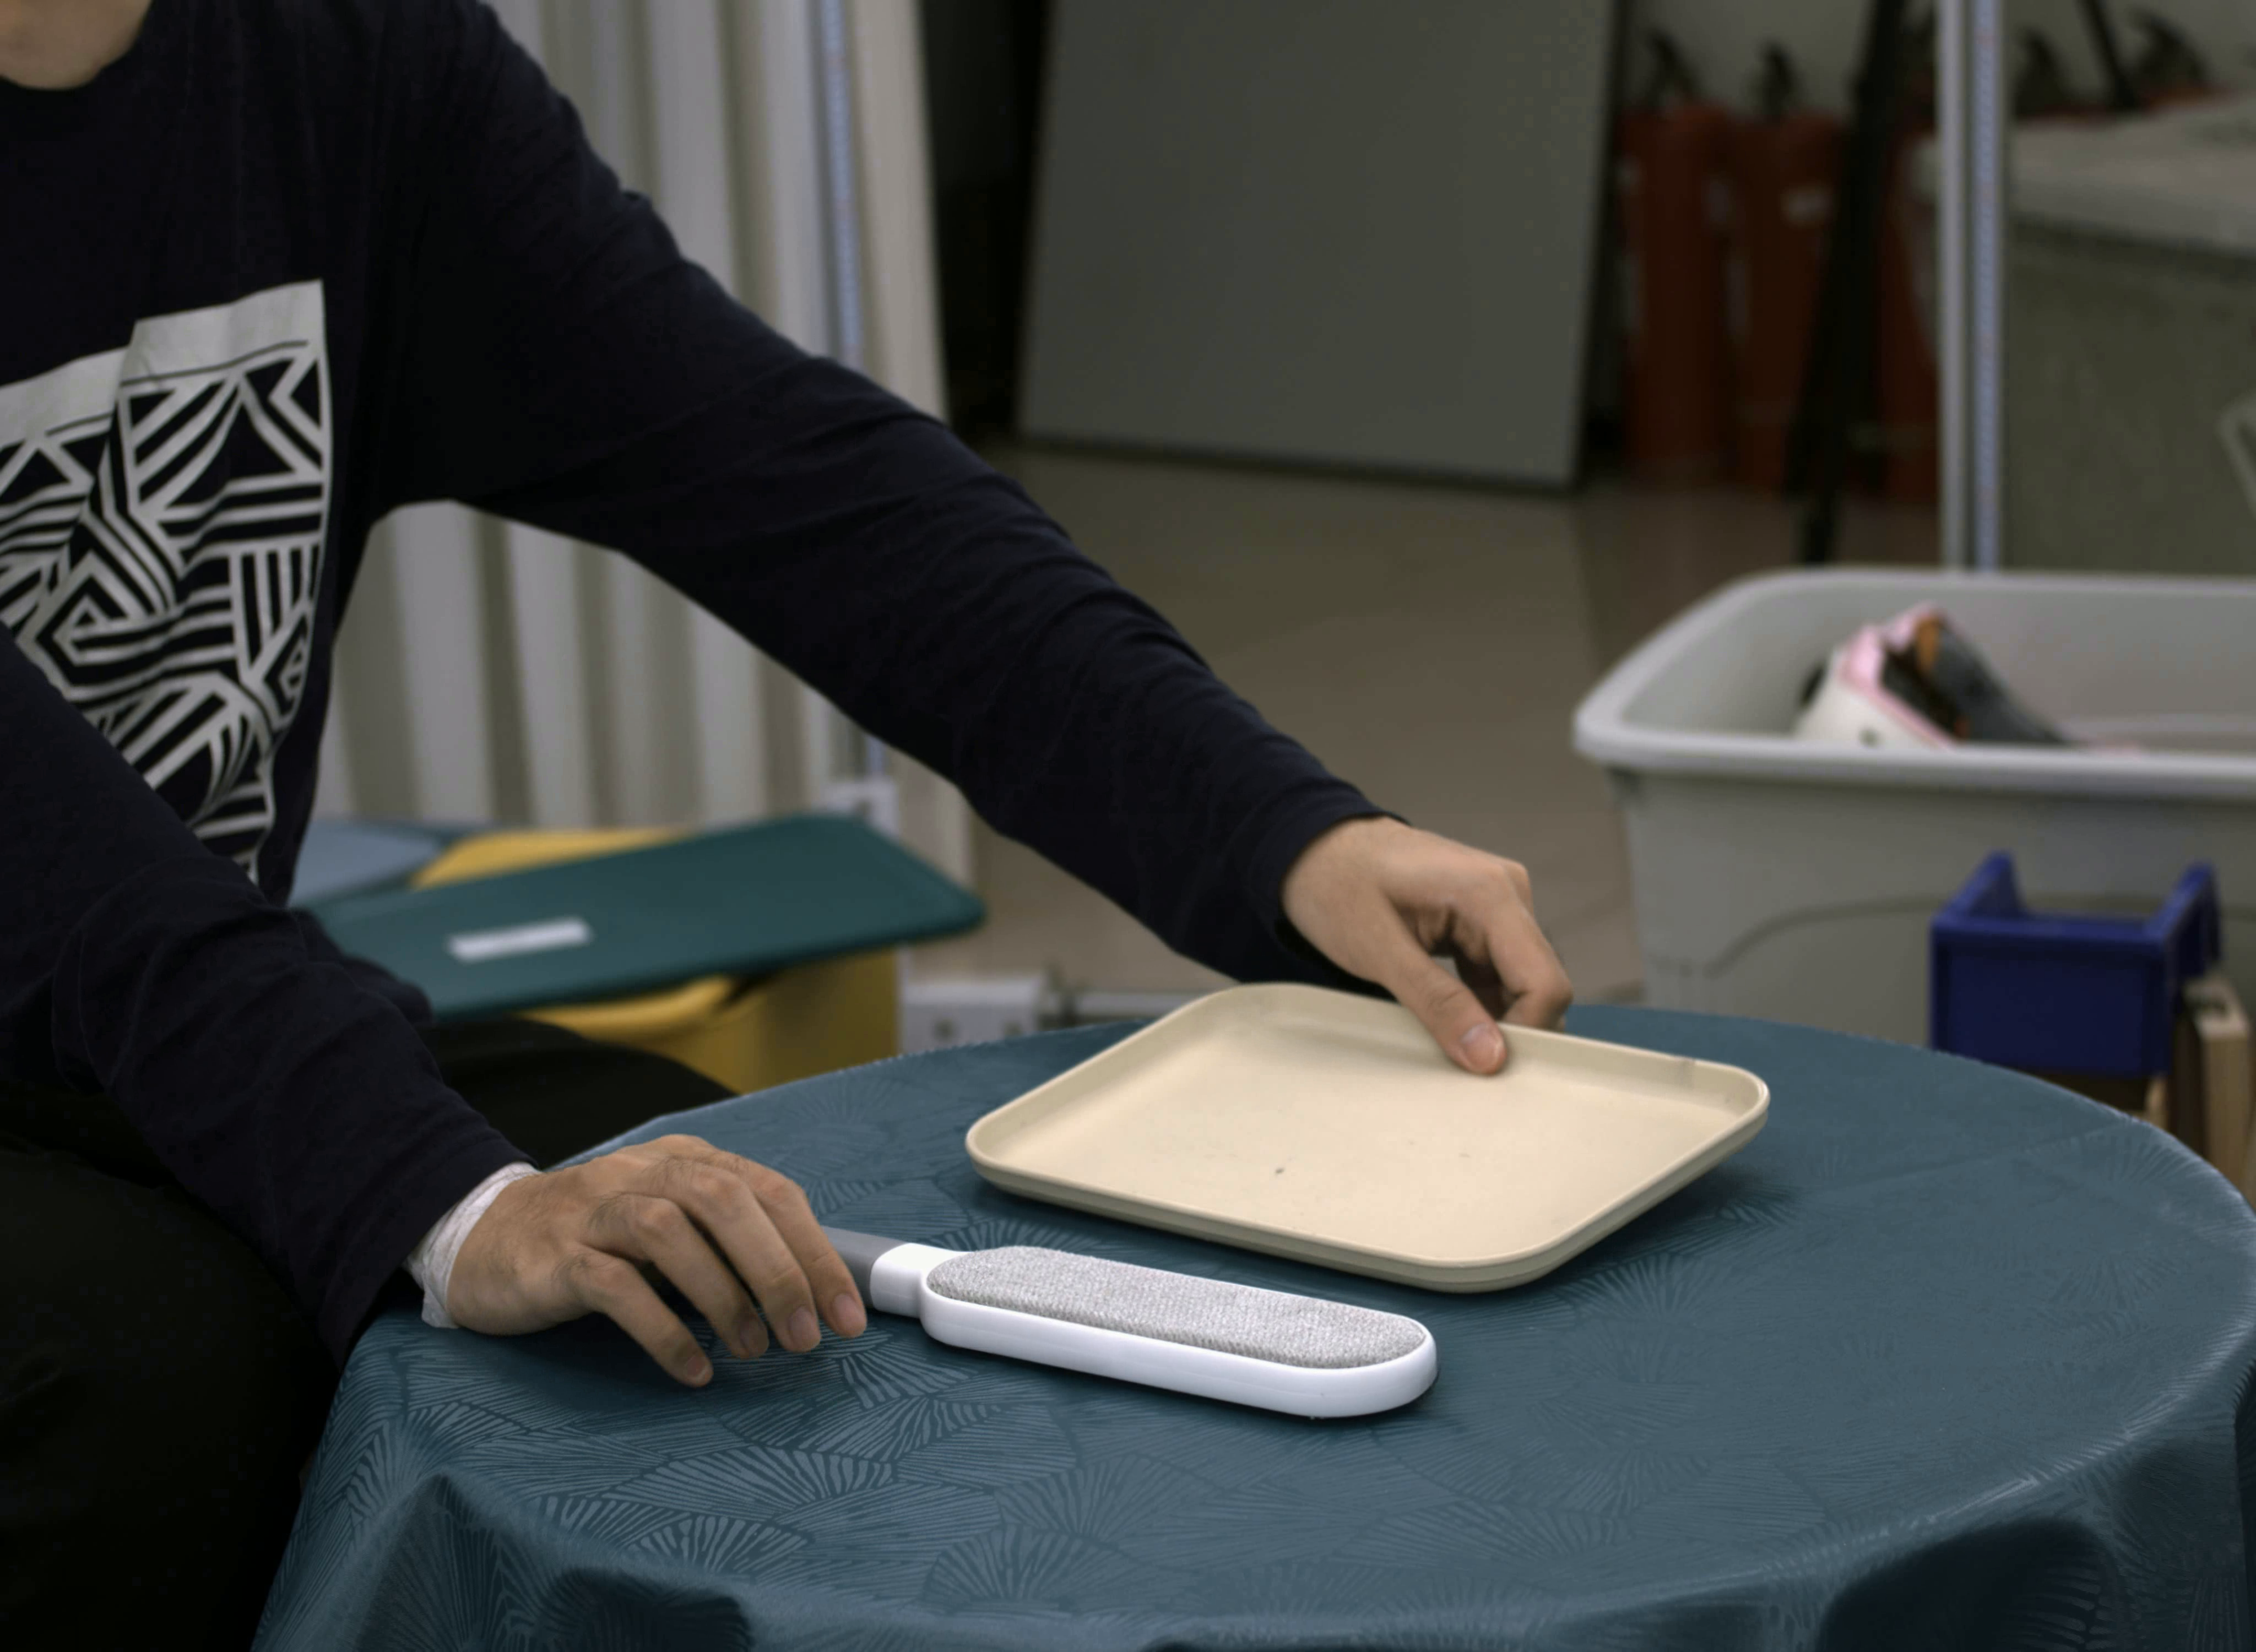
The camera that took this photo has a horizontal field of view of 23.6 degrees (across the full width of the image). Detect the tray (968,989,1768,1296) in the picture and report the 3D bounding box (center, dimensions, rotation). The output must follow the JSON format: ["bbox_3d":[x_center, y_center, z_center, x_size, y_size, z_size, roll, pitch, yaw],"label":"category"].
[{"bbox_3d":[0.078,0.102,1.761,0.241,0.017,0.168,8,25,41],"label":"tray"}]

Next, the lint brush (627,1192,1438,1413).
[{"bbox_3d":[-0.036,0.141,1.644,0.311,0.021,0.059,7,23,38],"label":"lint brush"}]
